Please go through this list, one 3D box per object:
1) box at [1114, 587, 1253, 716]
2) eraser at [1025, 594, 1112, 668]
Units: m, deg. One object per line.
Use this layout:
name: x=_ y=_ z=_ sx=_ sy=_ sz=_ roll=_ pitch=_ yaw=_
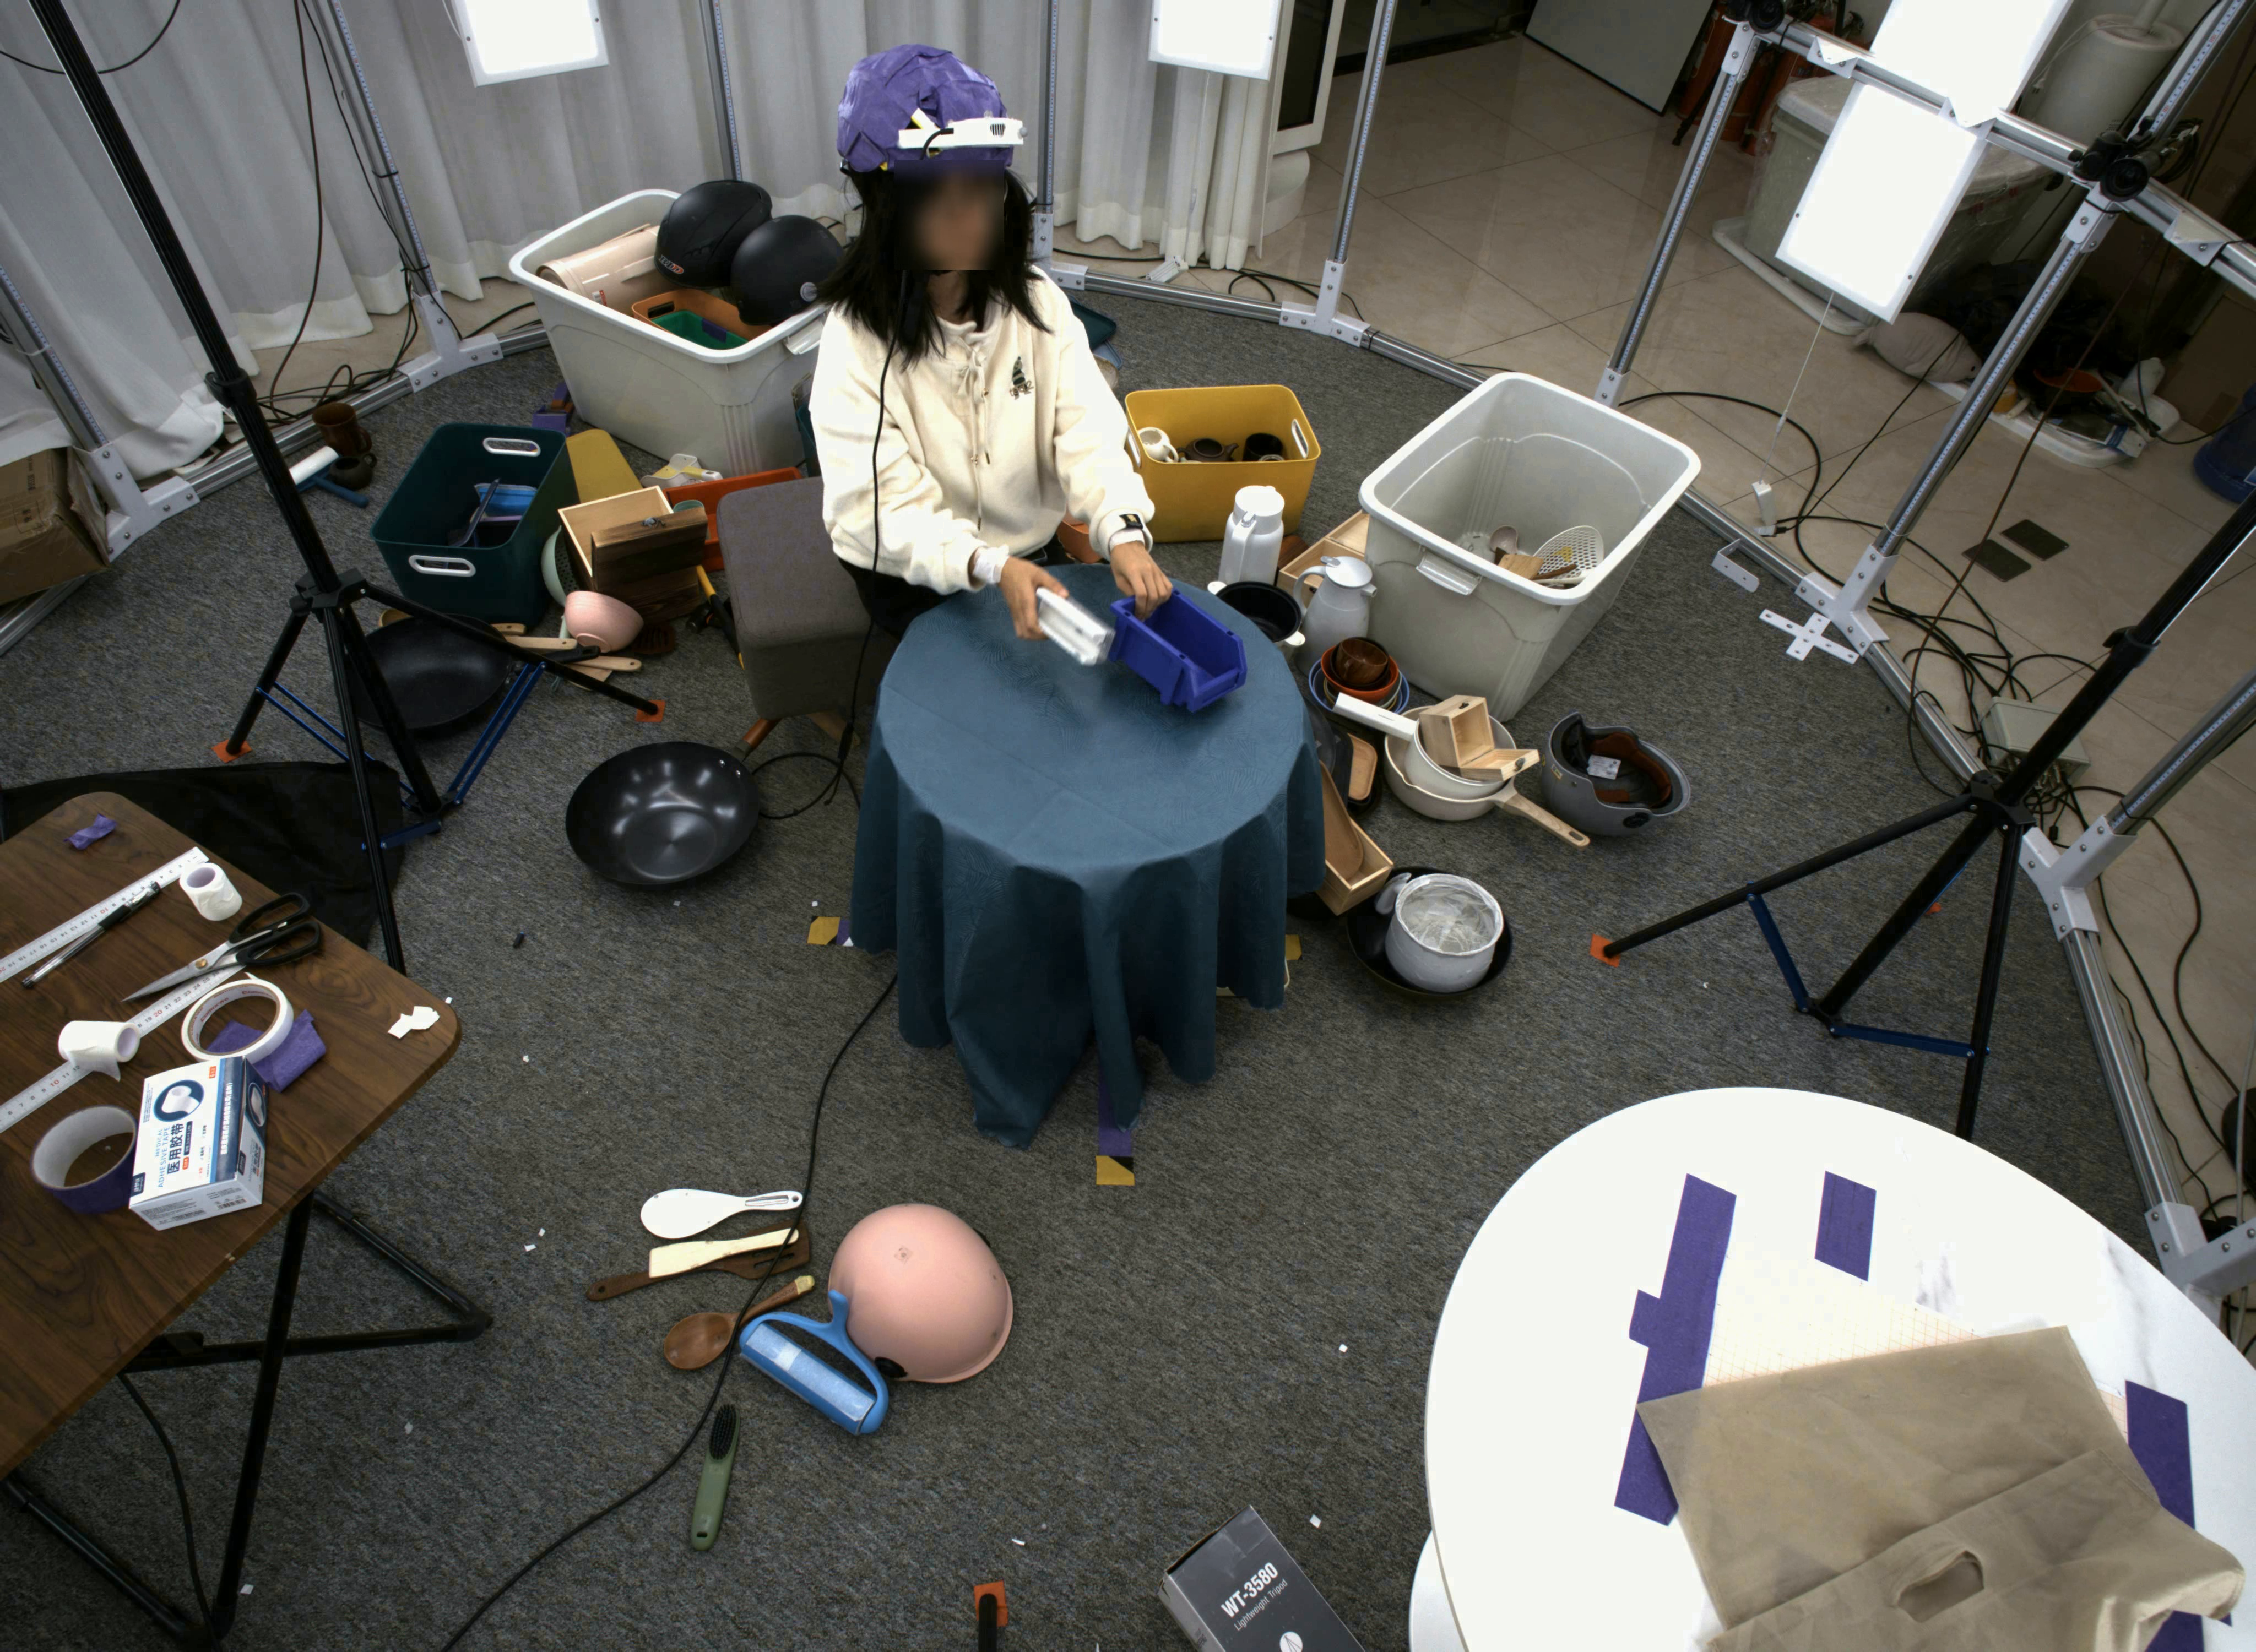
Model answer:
box: x=0.078 y=-0.243 z=1.808 sx=0.182 sy=0.080 sz=0.125 roll=40 pitch=46 yaw=24
eraser: x=-0.083 y=-0.271 z=1.785 sx=0.046 sy=0.049 sz=0.137 roll=-4 pitch=34 yaw=-44
